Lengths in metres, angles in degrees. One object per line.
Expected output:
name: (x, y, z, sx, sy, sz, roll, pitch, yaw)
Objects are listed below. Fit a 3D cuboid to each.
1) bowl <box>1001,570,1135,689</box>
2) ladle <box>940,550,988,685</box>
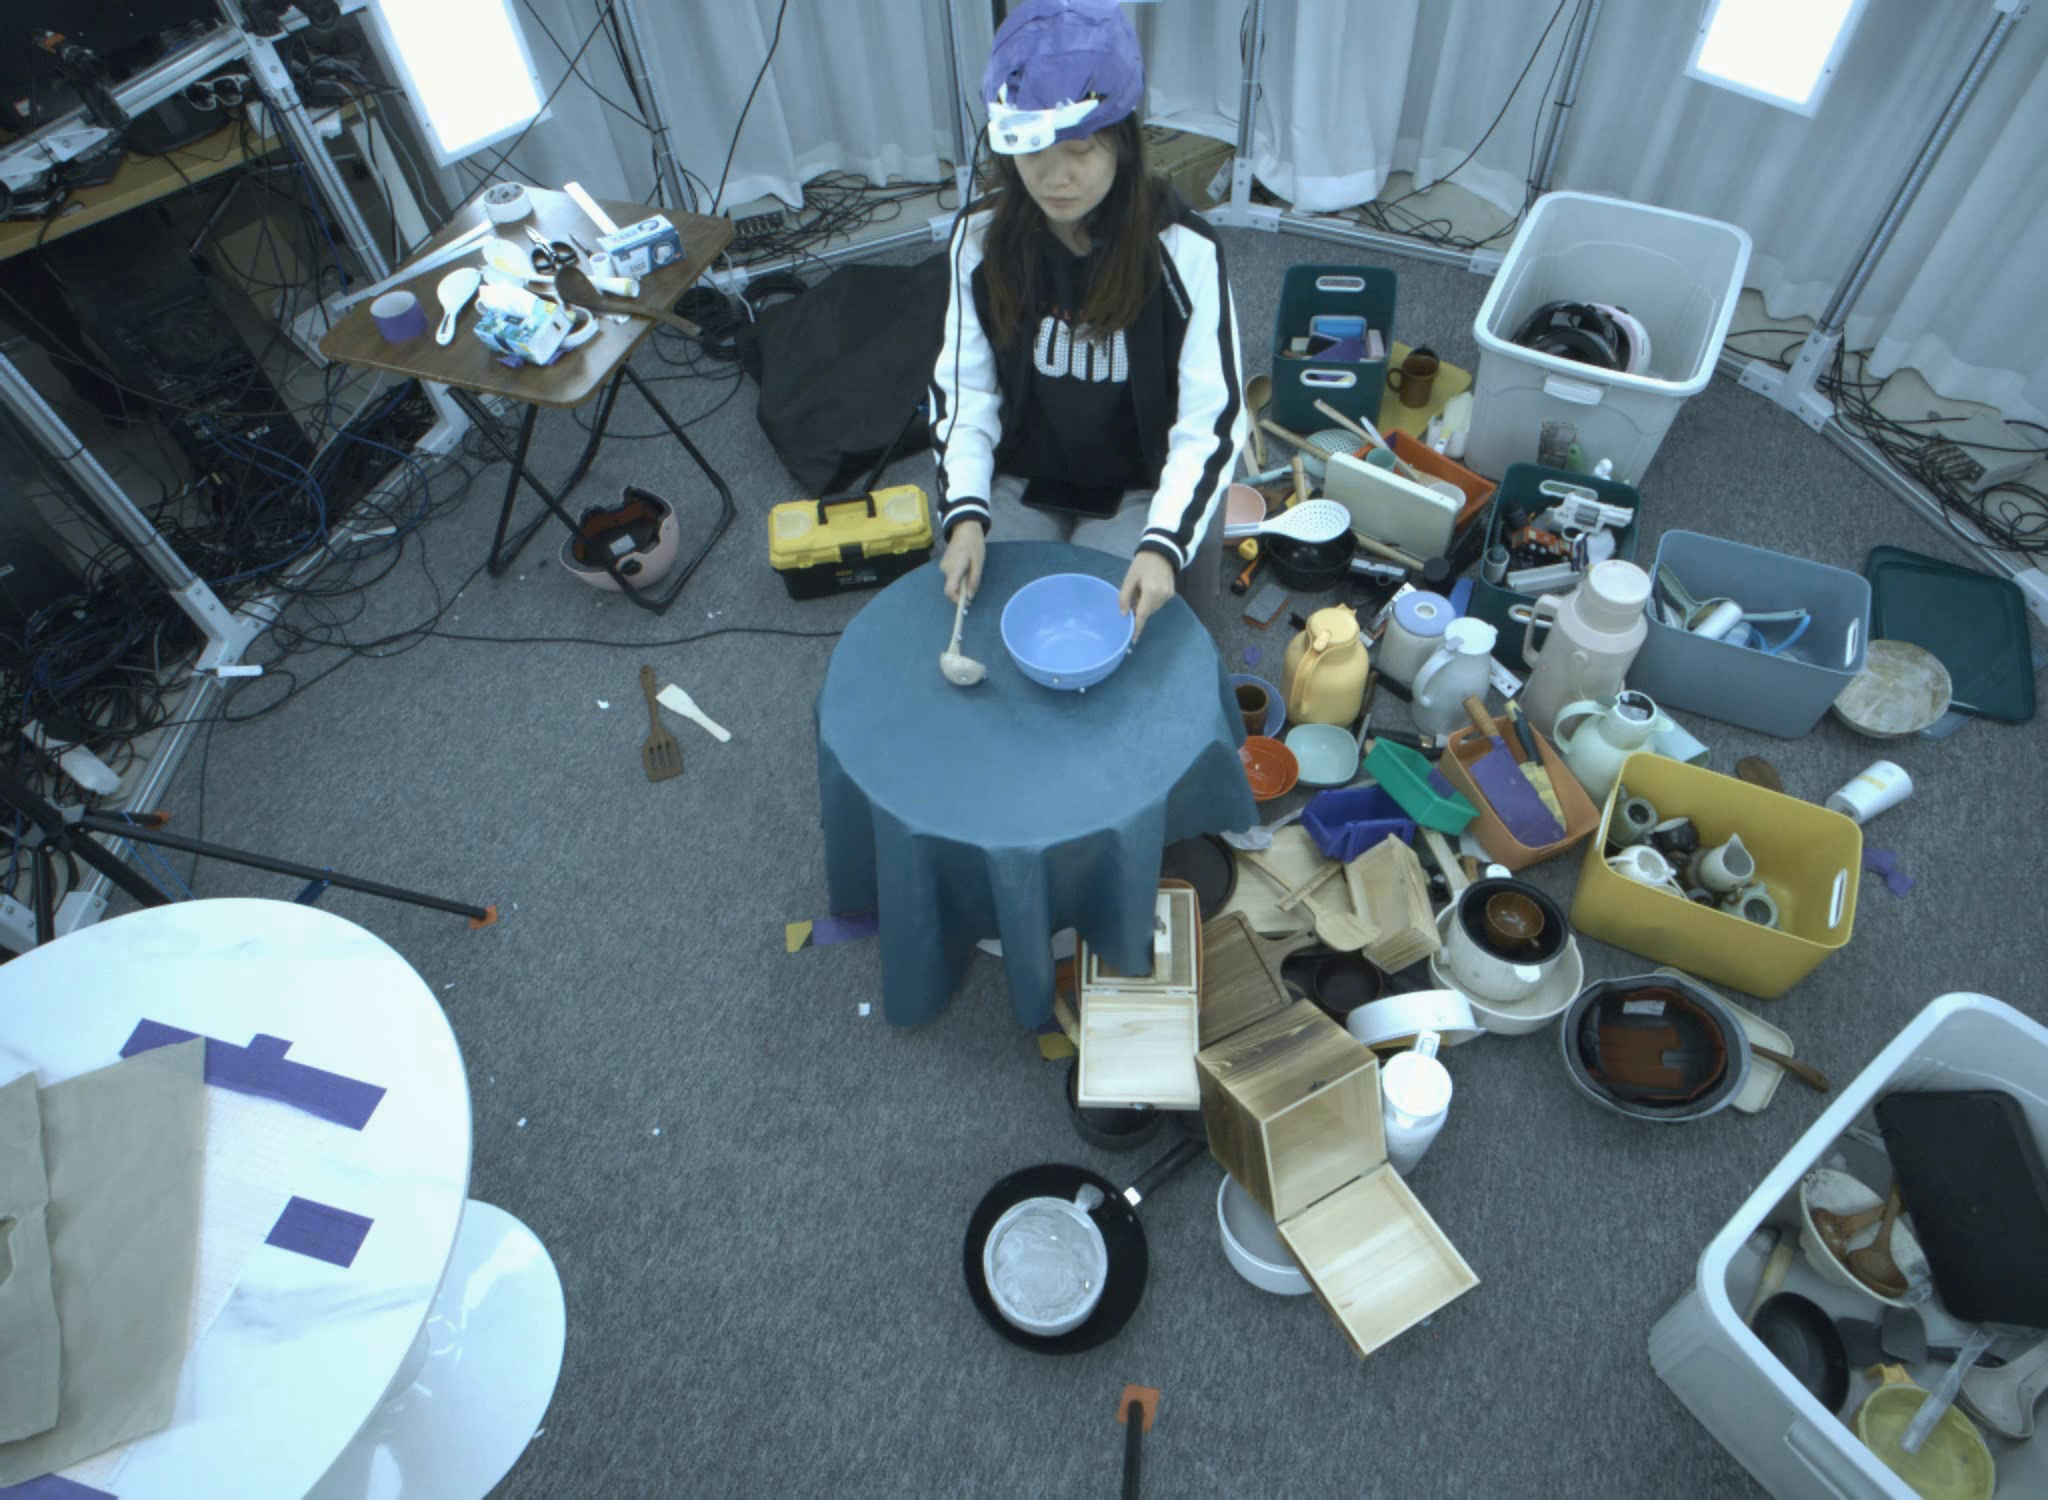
bowl: (0.067, -0.165, 1.841, 0.196, 0.096, 0.194, 0, 58, 2)
ladle: (-0.086, -0.218, 1.880, 0.074, 0.072, 0.252, 19, 60, -32)
